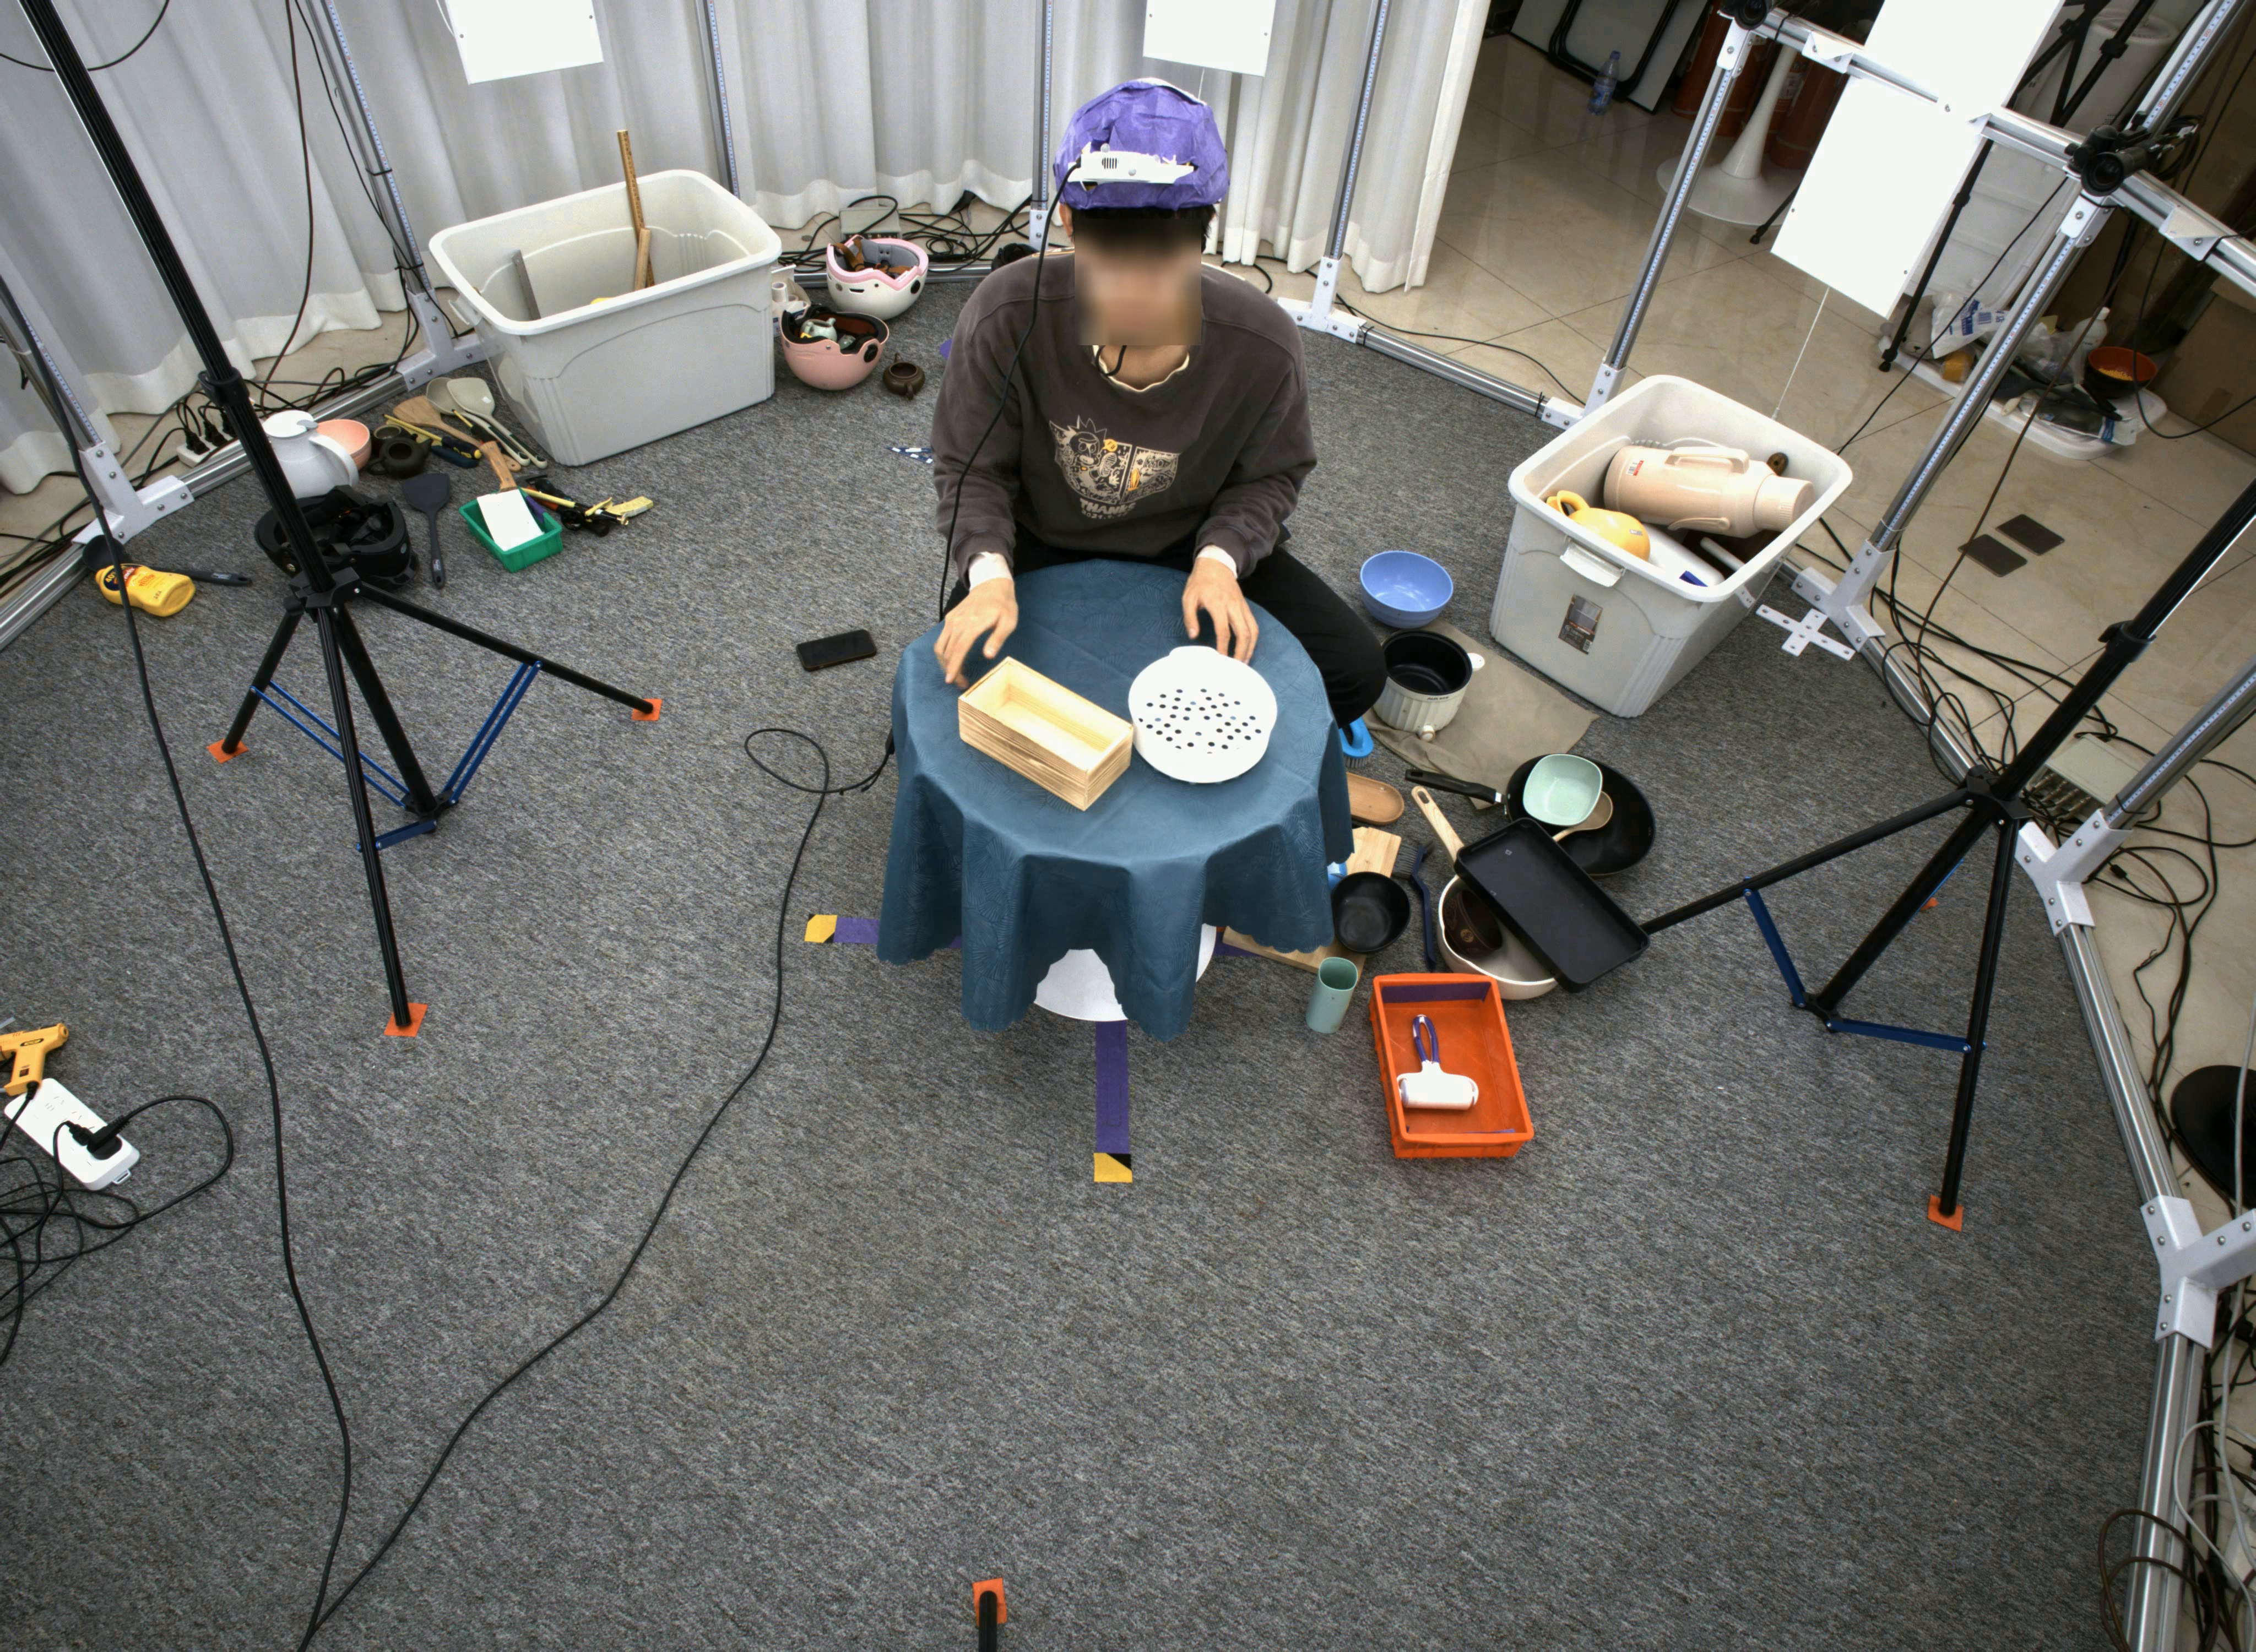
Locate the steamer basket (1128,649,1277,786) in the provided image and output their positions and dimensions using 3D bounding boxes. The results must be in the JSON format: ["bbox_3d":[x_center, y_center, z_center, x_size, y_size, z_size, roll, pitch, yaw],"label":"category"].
[{"bbox_3d":[0.100,-0.144,1.753,0.201,0.067,0.236,-1,48,-5],"label":"steamer basket"}]

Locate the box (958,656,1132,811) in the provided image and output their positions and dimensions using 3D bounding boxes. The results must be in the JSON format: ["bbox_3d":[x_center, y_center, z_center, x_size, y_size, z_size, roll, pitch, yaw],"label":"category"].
[{"bbox_3d":[-0.112,-0.126,1.716,0.214,0.078,0.109,30,53,21],"label":"box"}]
